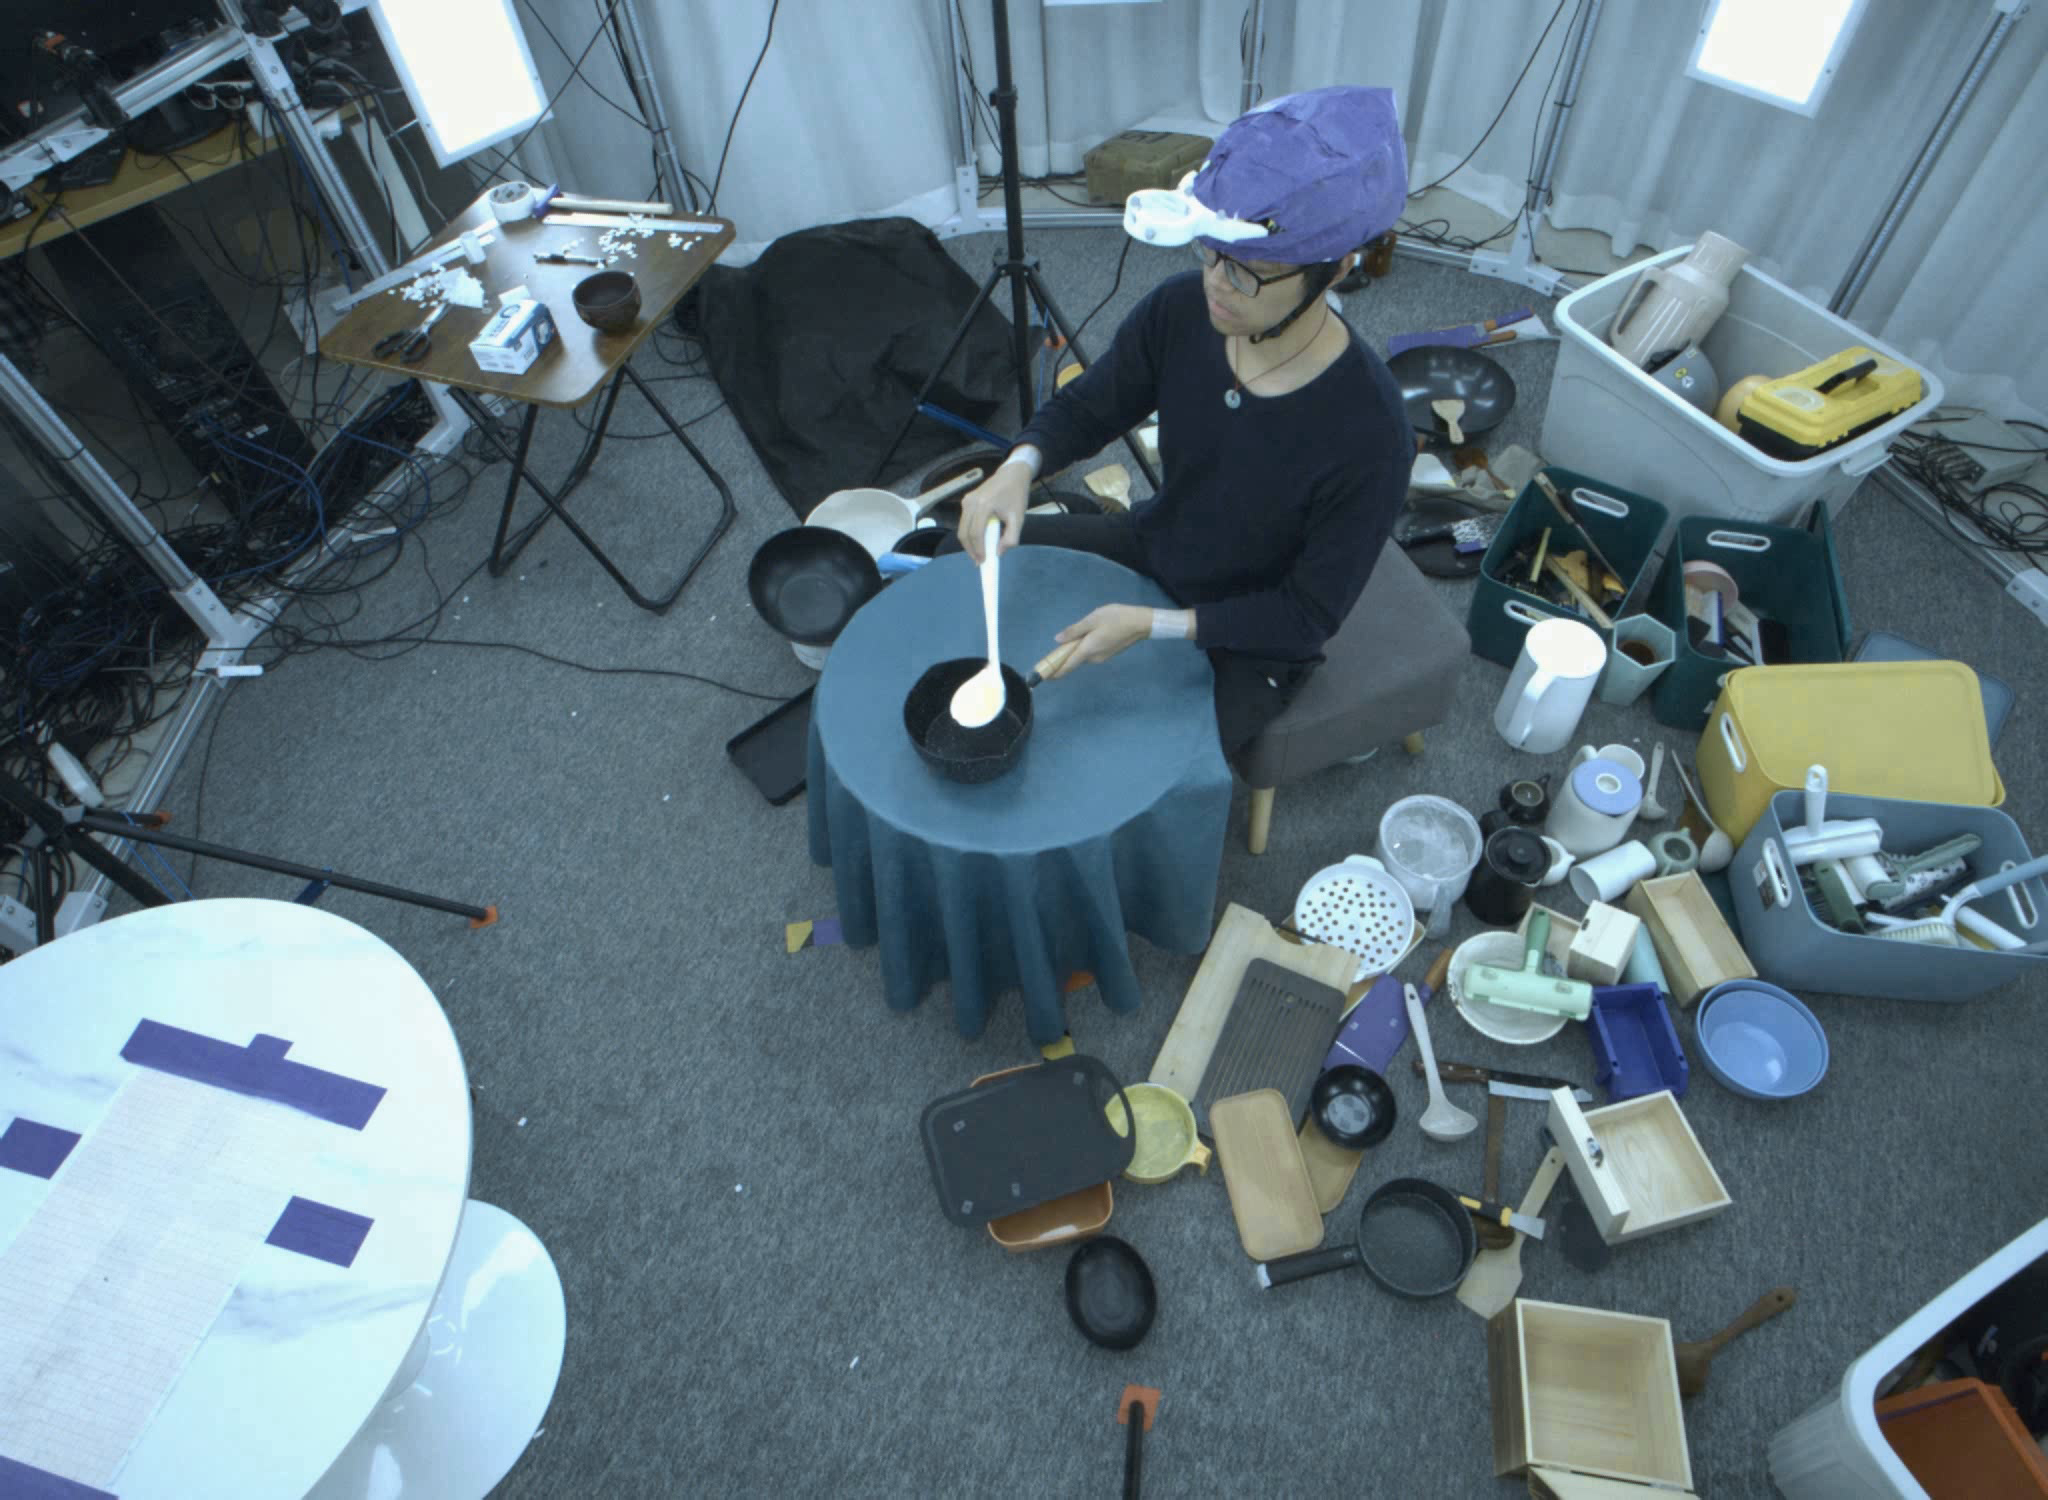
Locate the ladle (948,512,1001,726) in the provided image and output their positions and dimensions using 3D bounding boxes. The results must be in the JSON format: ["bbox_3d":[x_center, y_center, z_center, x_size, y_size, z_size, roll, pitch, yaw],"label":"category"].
[{"bbox_3d":[-0.065,-0.180,1.695,0.071,0.294,0.088,-13,22,-38],"label":"ladle"}]

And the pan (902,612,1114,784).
[{"bbox_3d":[-0.013,-0.083,1.774,0.345,0.109,0.203,-33,59,-15],"label":"pan"}]
